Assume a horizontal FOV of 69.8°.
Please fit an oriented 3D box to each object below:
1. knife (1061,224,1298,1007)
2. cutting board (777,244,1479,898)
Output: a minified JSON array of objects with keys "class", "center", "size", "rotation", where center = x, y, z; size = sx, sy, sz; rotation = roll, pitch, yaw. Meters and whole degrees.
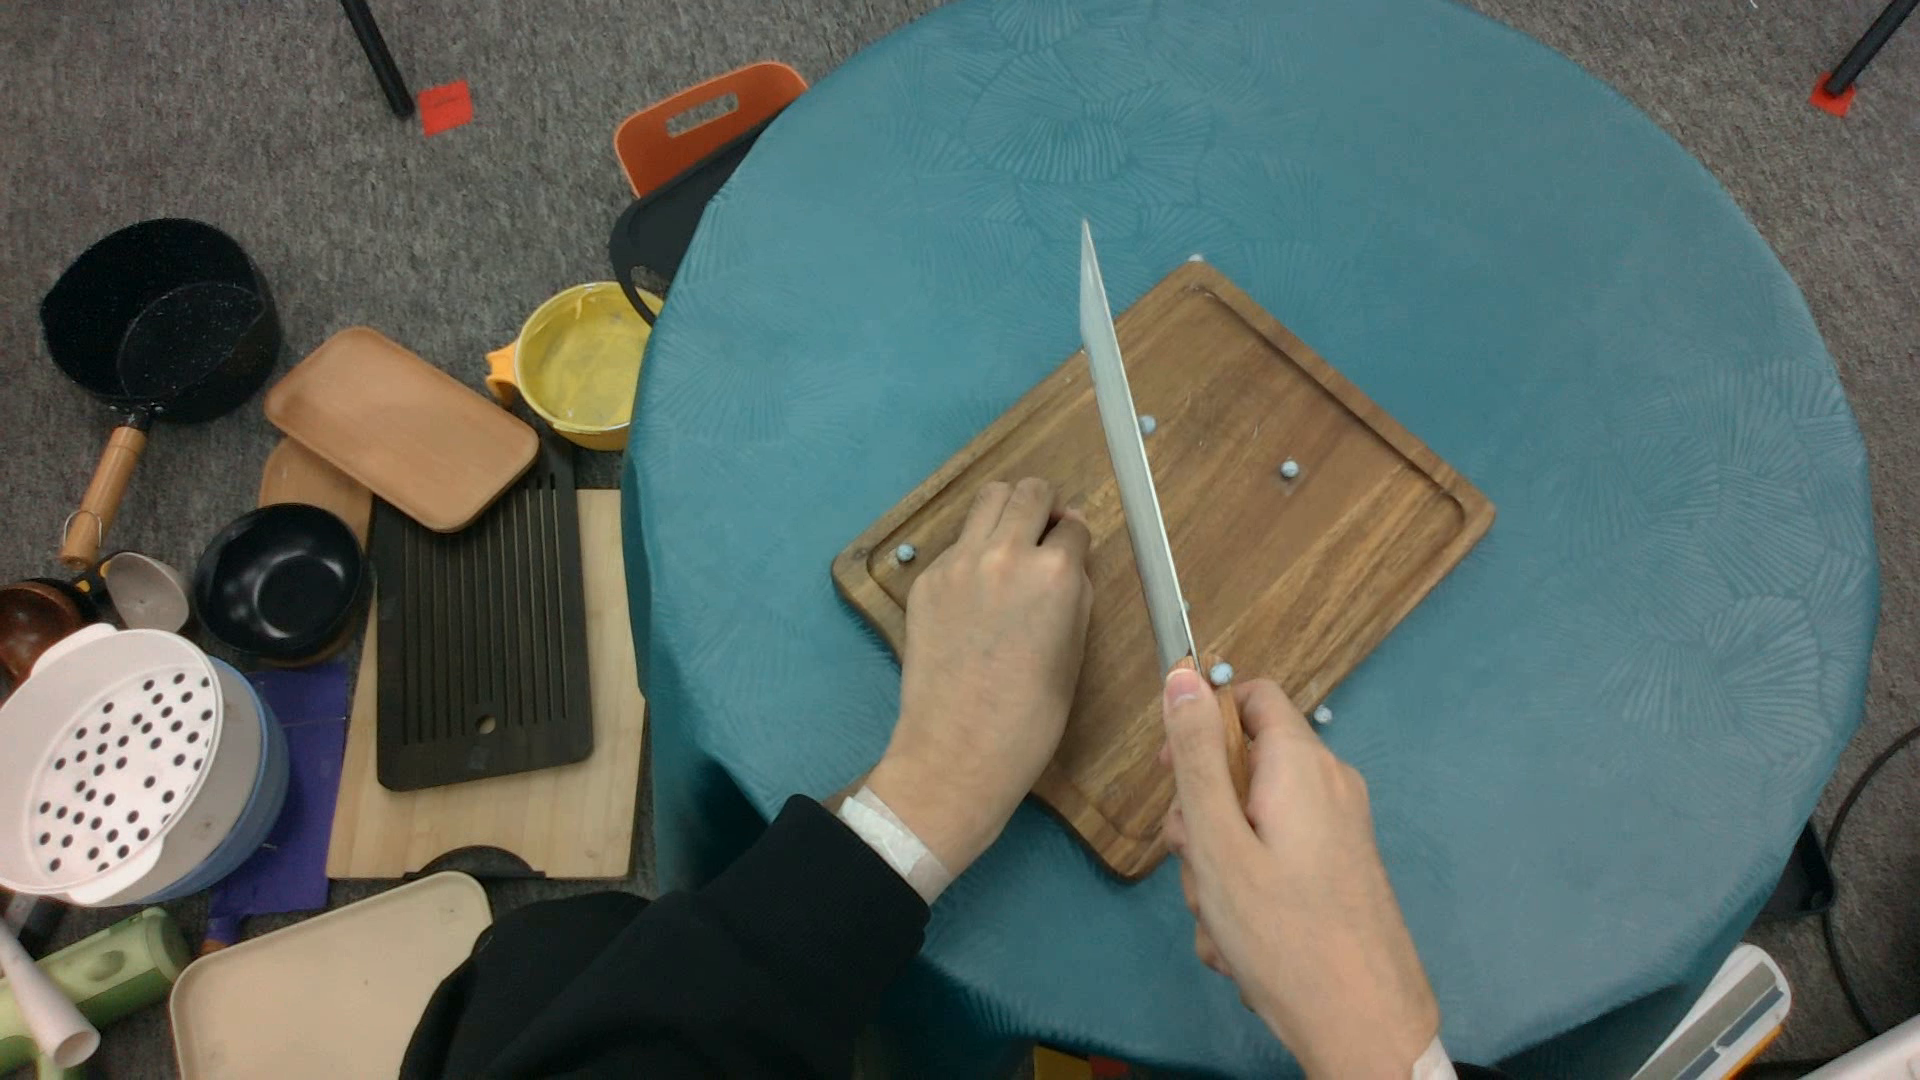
[{"class":"knife","center":[0.074,0.023,0.532],"size":[0.021,0.092,0.306],"rotation":[-11,68,-2]},{"class":"cutting board","center":[0.054,0.027,0.622],"size":[0.353,0.023,0.201],"rotation":[-42,75,-17]}]
